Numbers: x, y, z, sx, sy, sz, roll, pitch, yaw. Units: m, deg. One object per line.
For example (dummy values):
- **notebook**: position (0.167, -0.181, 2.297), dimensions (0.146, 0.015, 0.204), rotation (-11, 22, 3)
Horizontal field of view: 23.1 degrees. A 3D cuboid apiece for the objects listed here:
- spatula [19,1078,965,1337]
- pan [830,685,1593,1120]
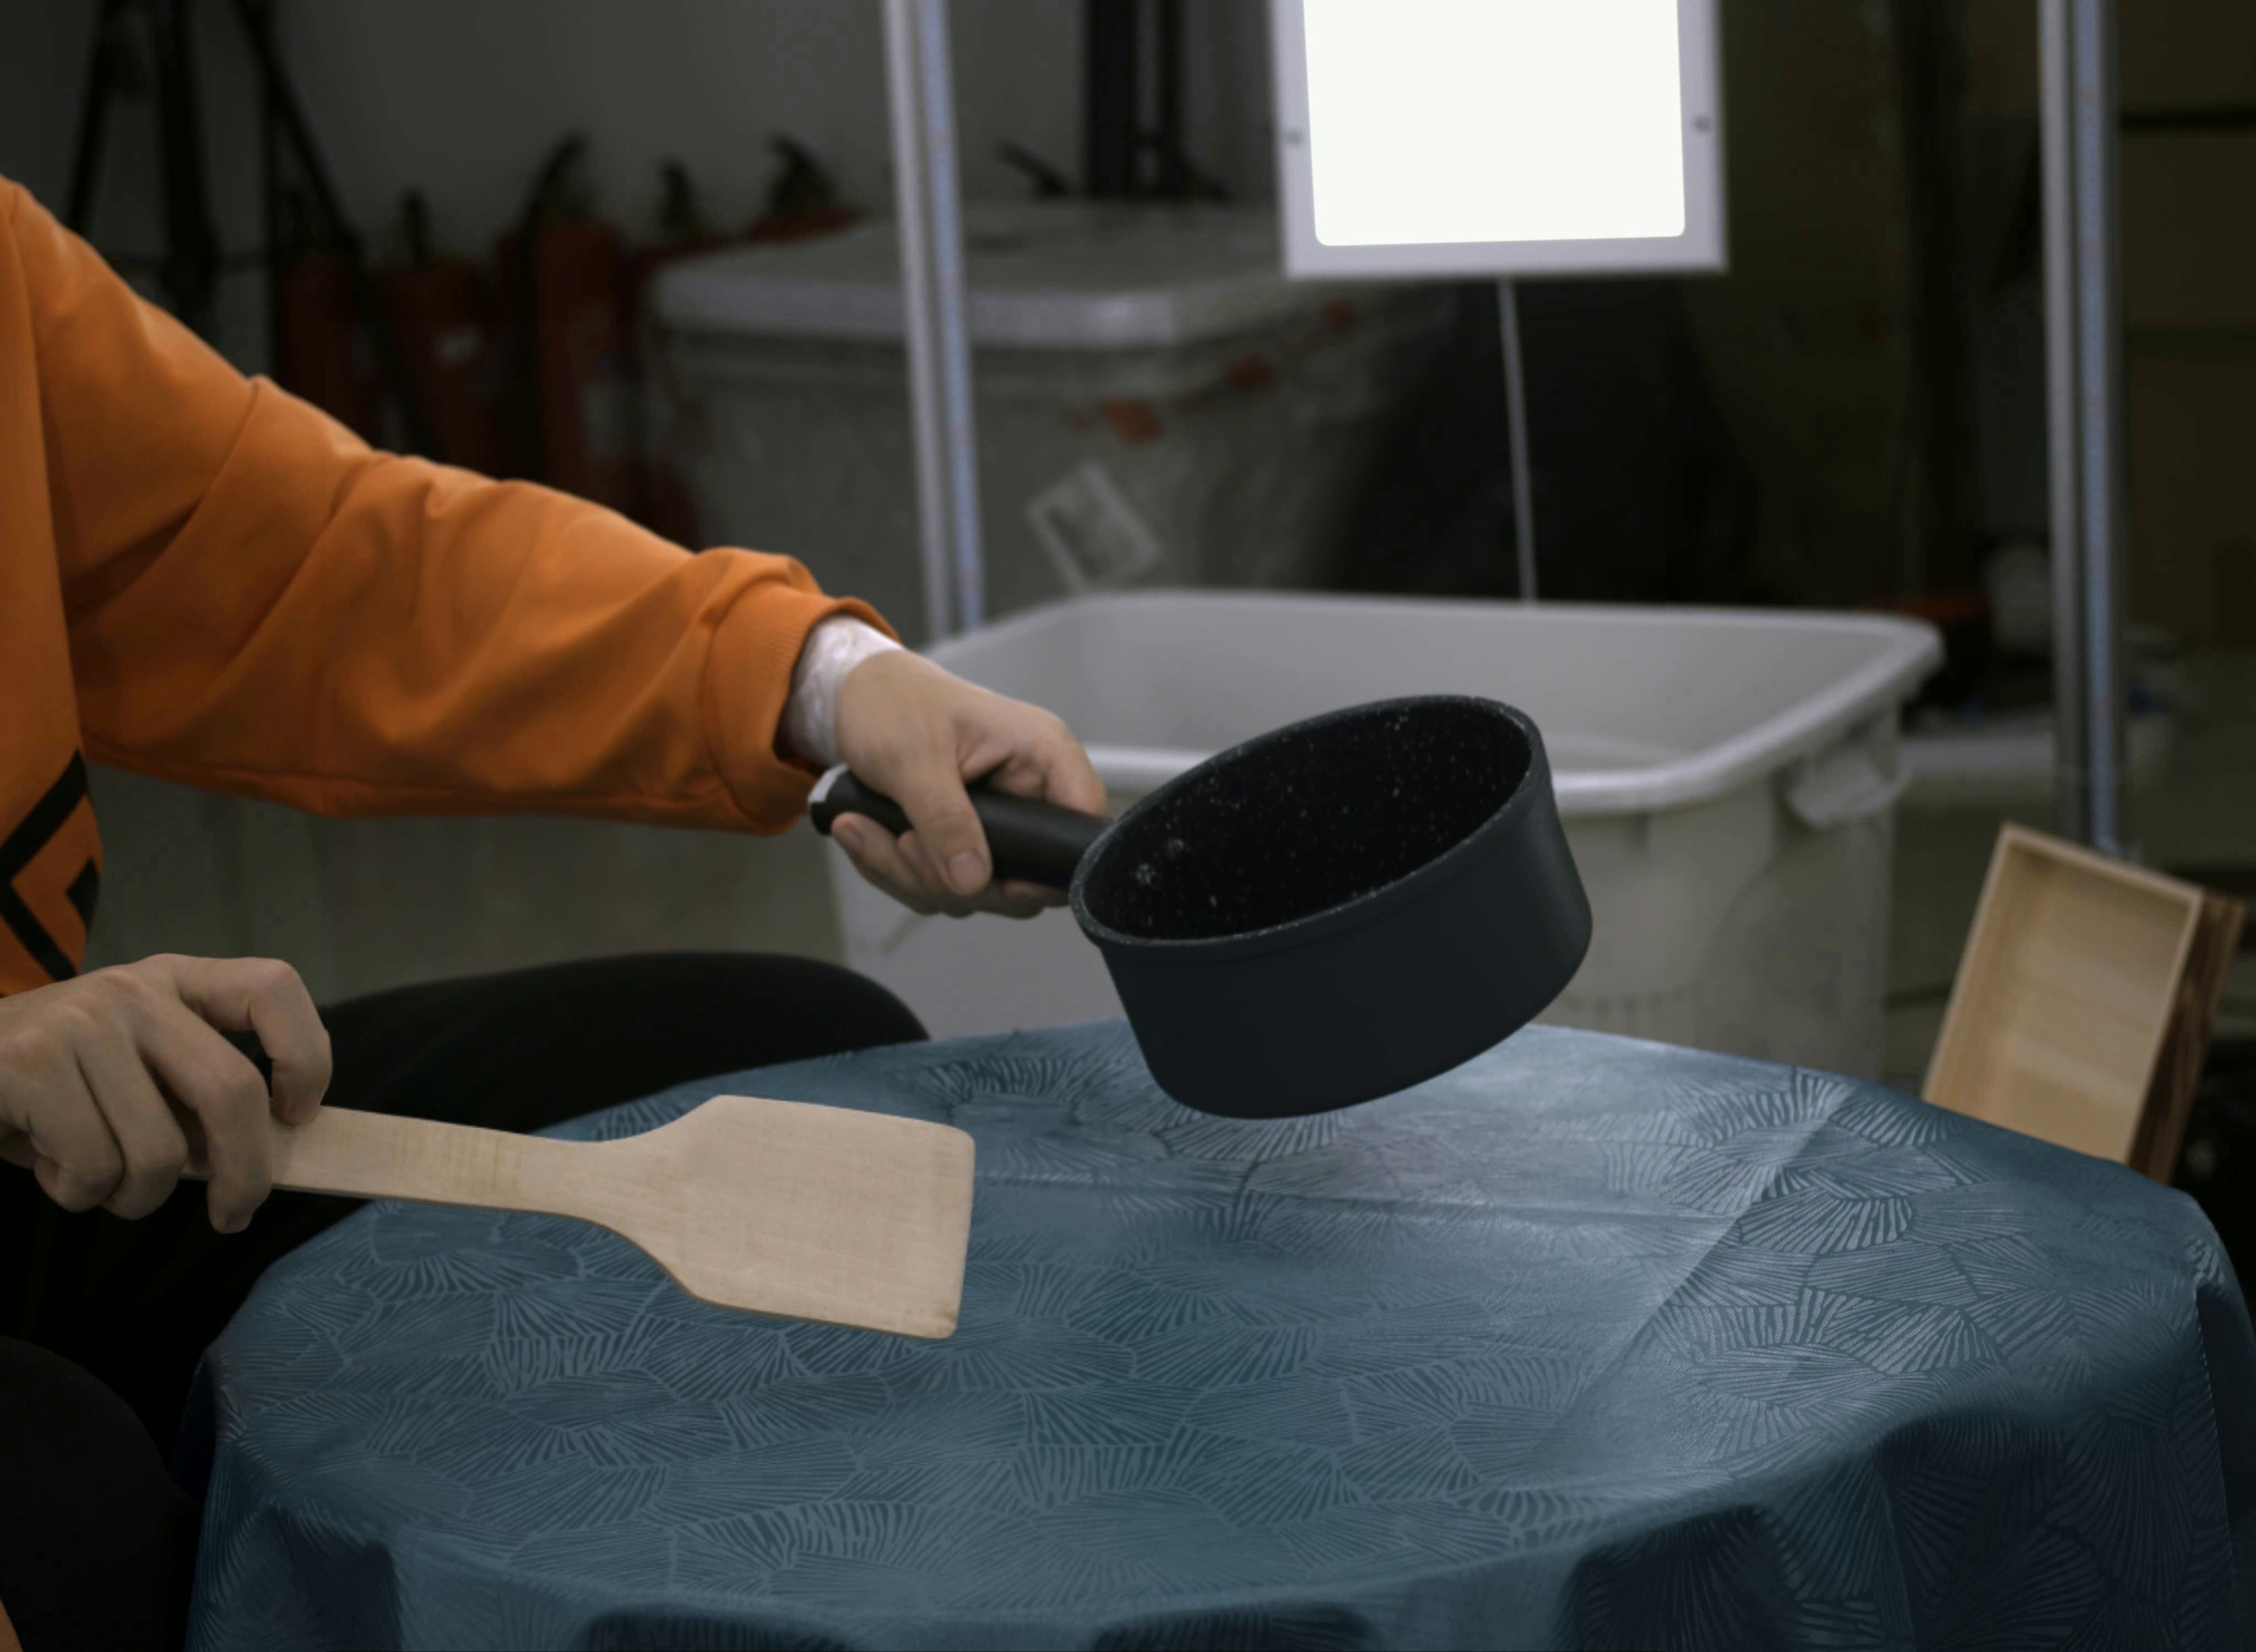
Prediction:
- **spatula**: position (-0.196, 0.106, 1.708), dimensions (0.291, 0.072, 0.011), rotation (7, -18, -2)
- **pan**: position (0.018, 0.020, 1.946), dimensions (0.168, 0.086, 0.336), rotation (-36, 27, -33)
